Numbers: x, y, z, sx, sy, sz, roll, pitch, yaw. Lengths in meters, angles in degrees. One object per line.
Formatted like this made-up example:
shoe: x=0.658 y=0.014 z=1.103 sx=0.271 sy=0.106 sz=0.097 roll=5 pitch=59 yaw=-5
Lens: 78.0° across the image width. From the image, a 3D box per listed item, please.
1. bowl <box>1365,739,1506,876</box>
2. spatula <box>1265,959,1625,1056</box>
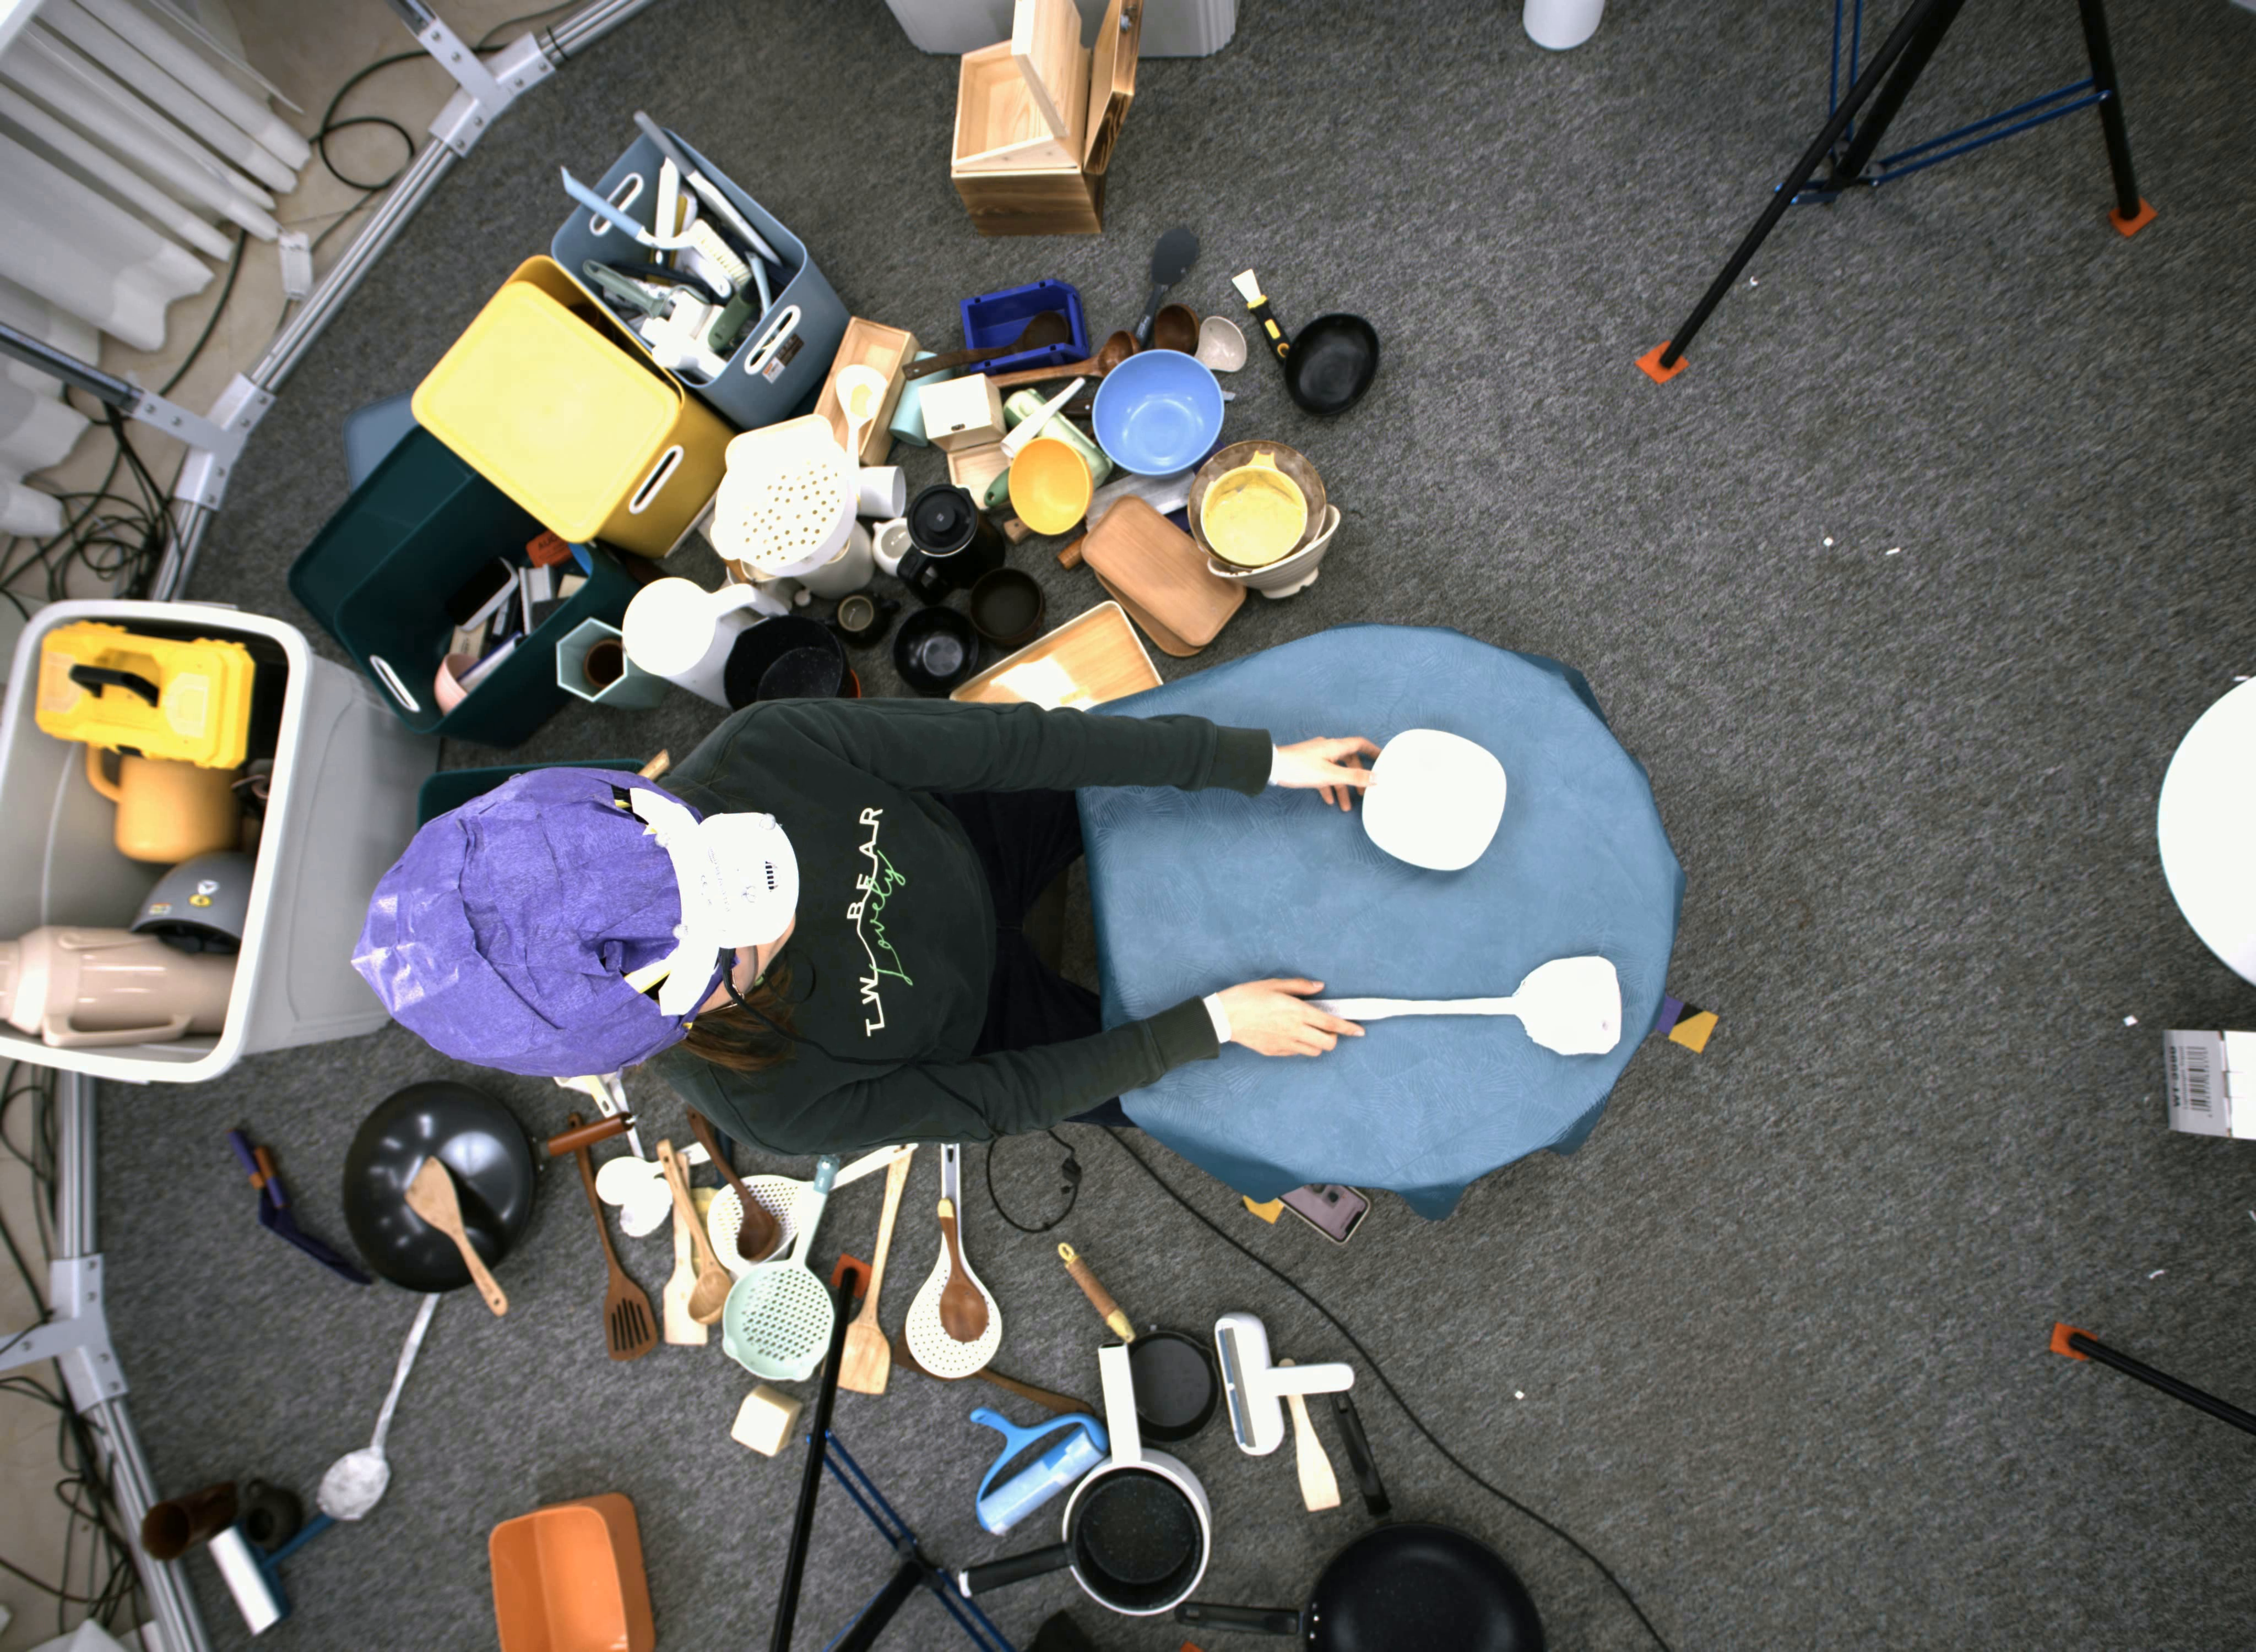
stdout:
bowl: x=0.321 y=-0.018 z=1.439 sx=0.152 sy=0.059 sz=0.150 roll=-2 pitch=83 yaw=14
spatula: x=0.322 y=0.184 z=1.428 sx=0.366 sy=0.045 sz=0.098 roll=-1 pitch=87 yaw=10
